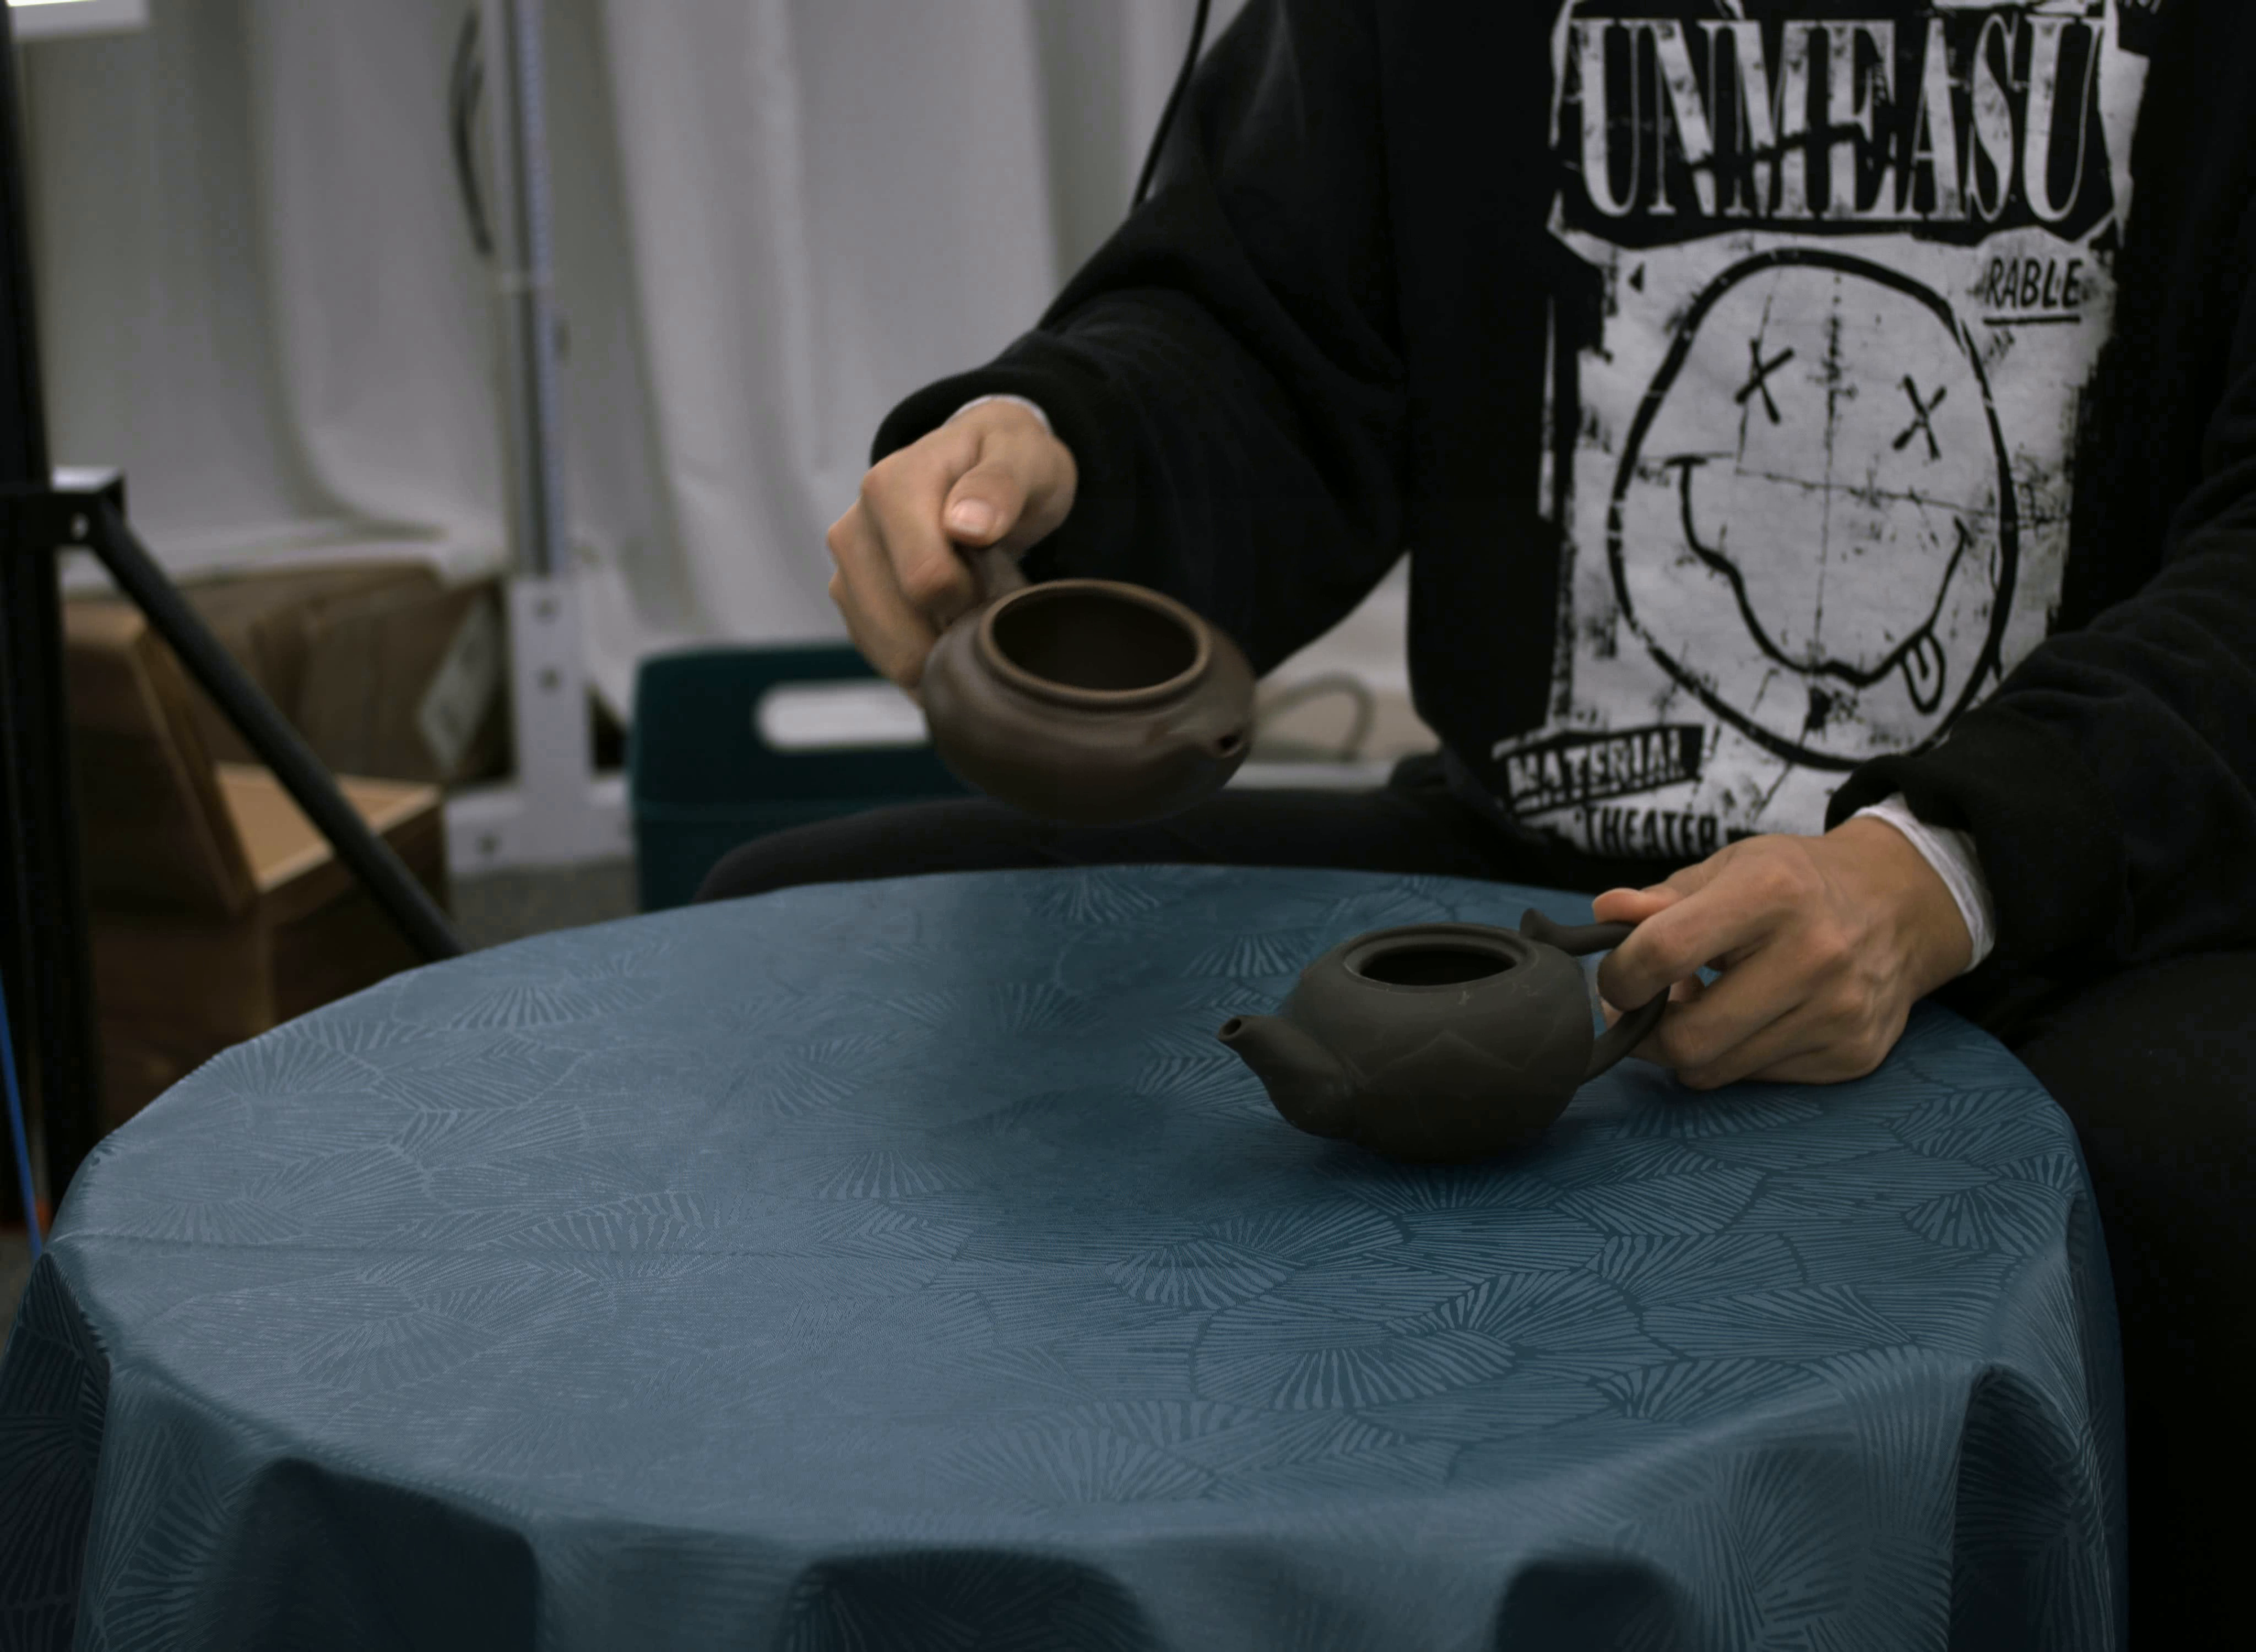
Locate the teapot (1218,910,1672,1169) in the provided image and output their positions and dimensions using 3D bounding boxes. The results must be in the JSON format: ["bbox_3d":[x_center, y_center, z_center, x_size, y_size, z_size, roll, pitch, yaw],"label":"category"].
[{"bbox_3d":[0.096,0.063,1.577,0.151,0.064,0.094,-13,22,-23],"label":"teapot"}]

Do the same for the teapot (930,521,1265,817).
[{"bbox_3d":[-0.012,-0.044,1.615,0.100,0.054,0.157,-17,39,-35],"label":"teapot"}]
